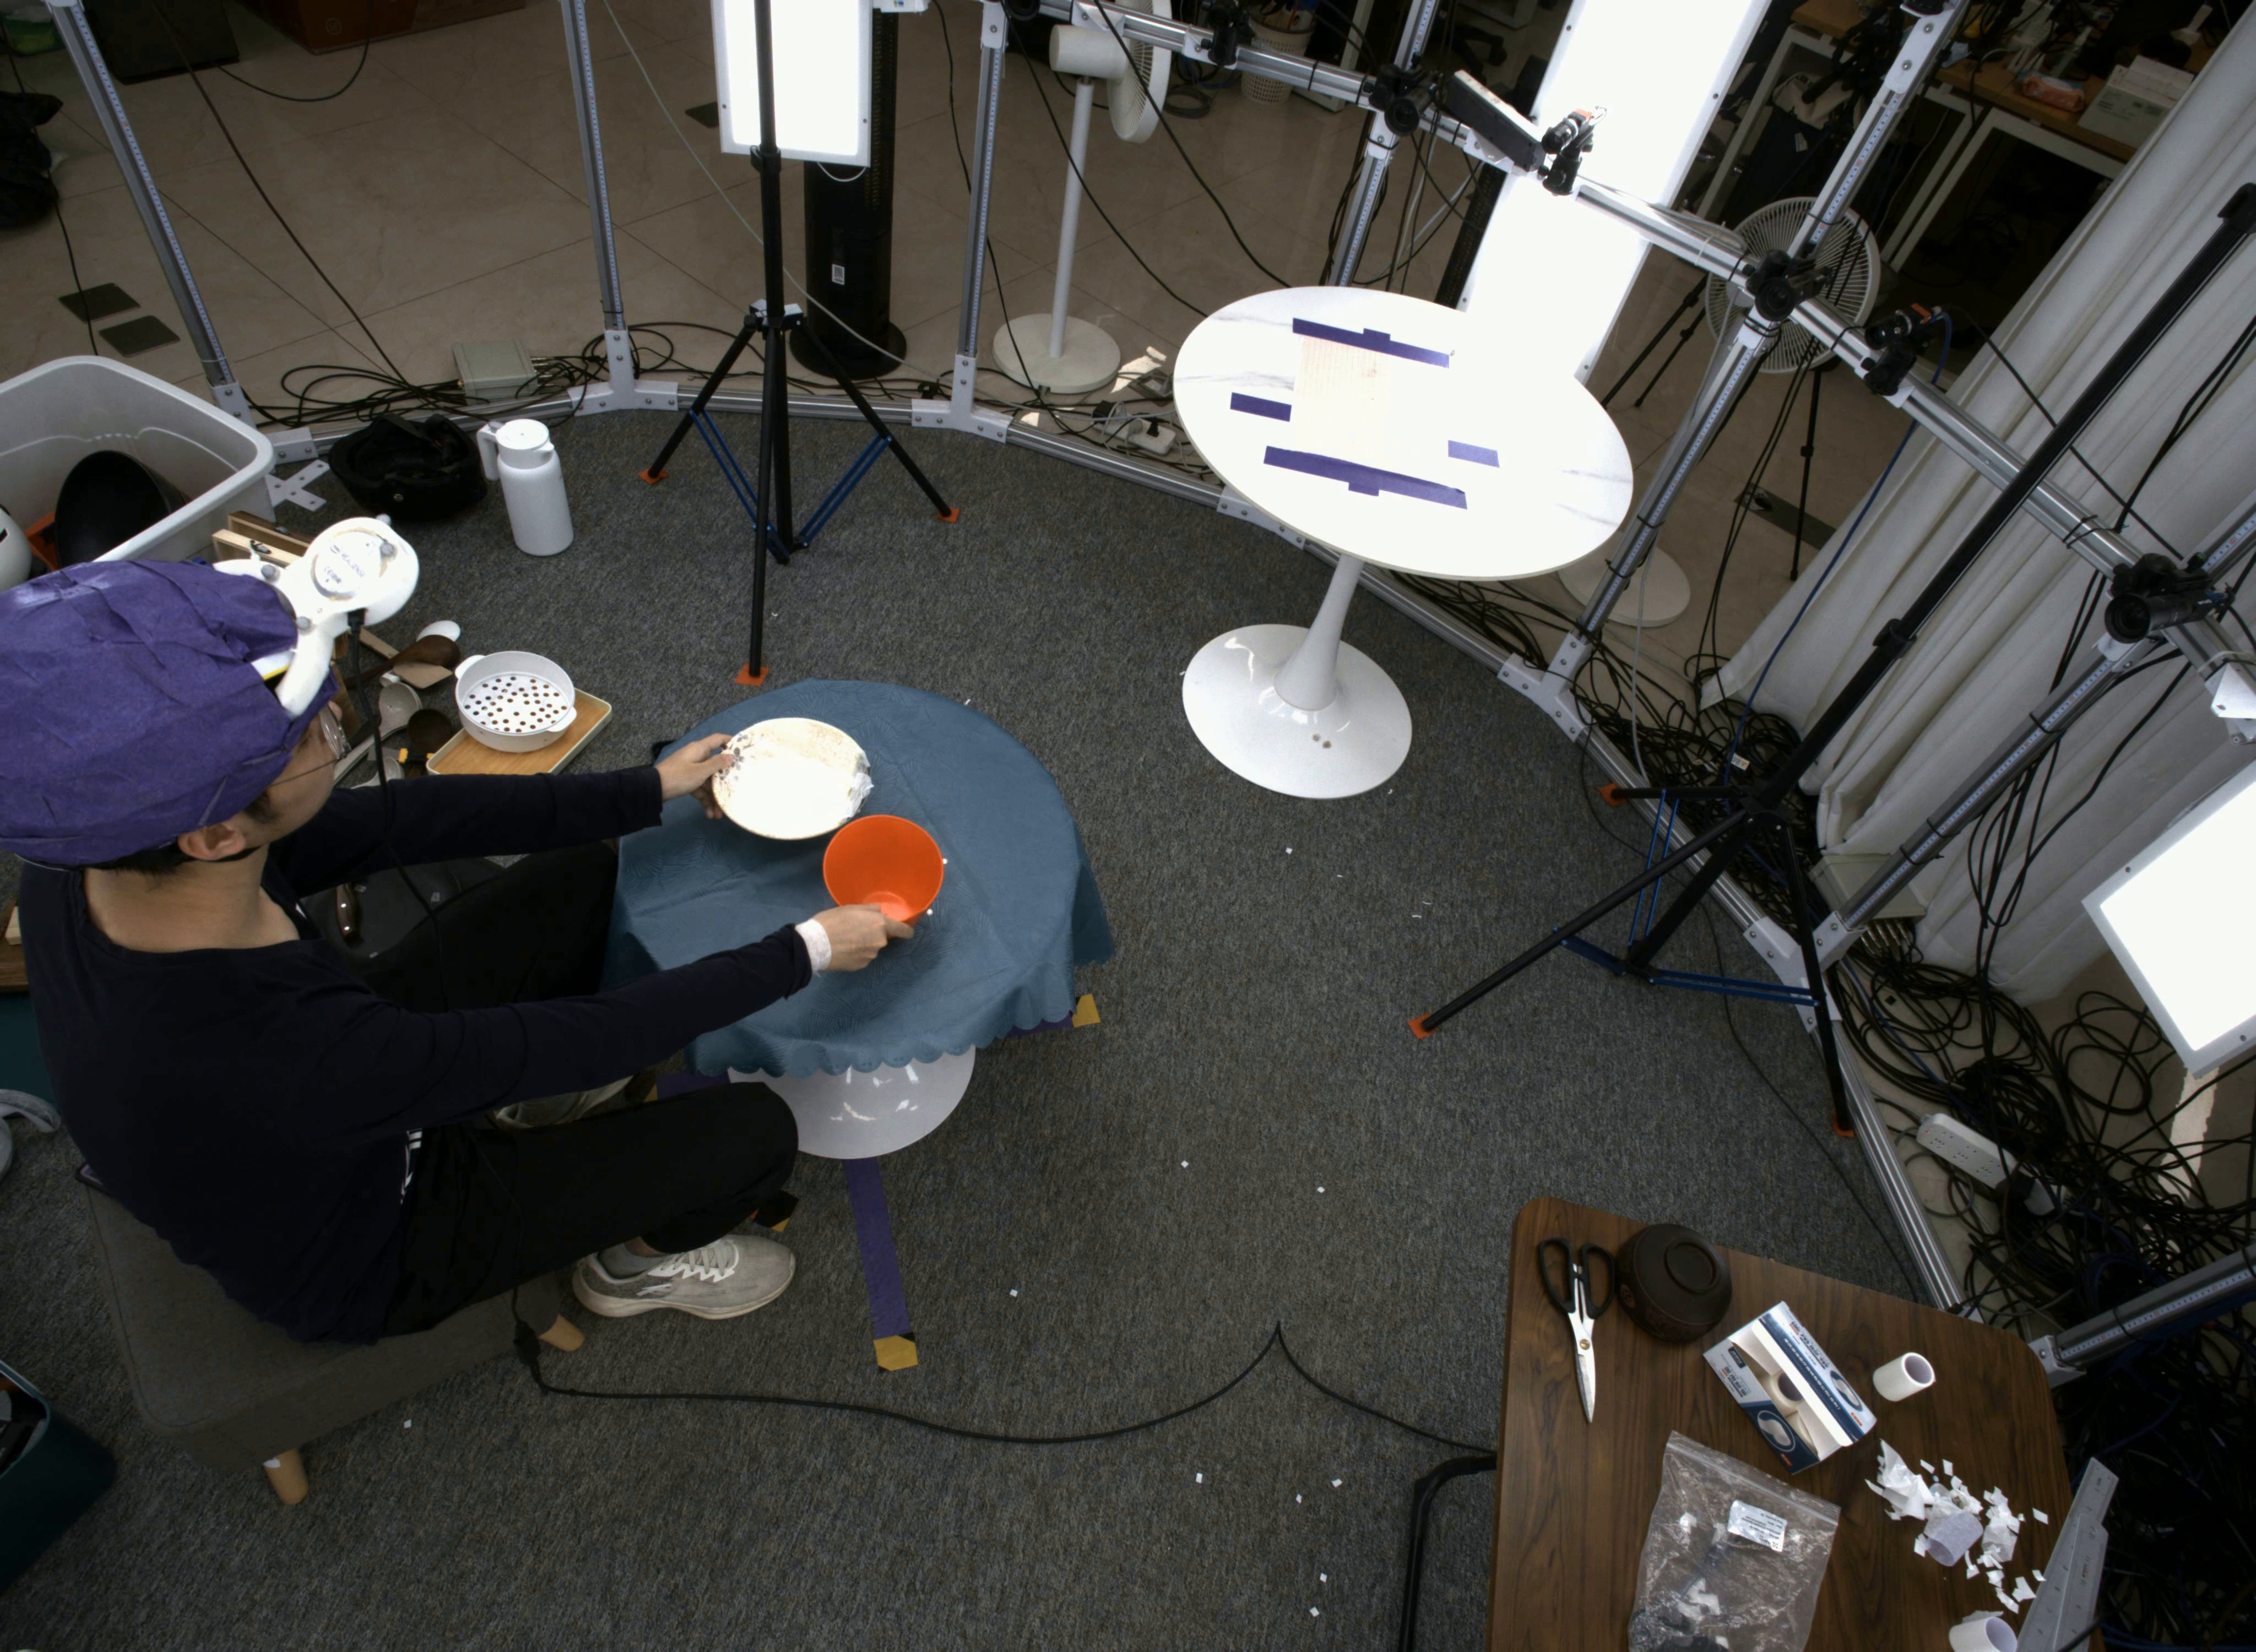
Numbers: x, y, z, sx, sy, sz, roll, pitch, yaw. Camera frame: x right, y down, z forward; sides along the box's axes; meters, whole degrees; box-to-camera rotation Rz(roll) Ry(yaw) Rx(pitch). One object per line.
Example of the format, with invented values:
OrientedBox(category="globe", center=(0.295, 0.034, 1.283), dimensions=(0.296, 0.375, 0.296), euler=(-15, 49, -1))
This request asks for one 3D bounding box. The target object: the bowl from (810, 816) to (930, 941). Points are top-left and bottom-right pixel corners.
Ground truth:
OrientedBox(category="bowl", center=(-0.325, 0.077, 1.640), dimensions=(0.147, 0.107, 0.145), euler=(7, 54, -8))

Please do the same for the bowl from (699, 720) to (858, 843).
OrientedBox(category="bowl", center=(-0.457, -0.039, 1.708), dimensions=(0.203, 0.080, 0.200), euler=(5, 54, -6))
